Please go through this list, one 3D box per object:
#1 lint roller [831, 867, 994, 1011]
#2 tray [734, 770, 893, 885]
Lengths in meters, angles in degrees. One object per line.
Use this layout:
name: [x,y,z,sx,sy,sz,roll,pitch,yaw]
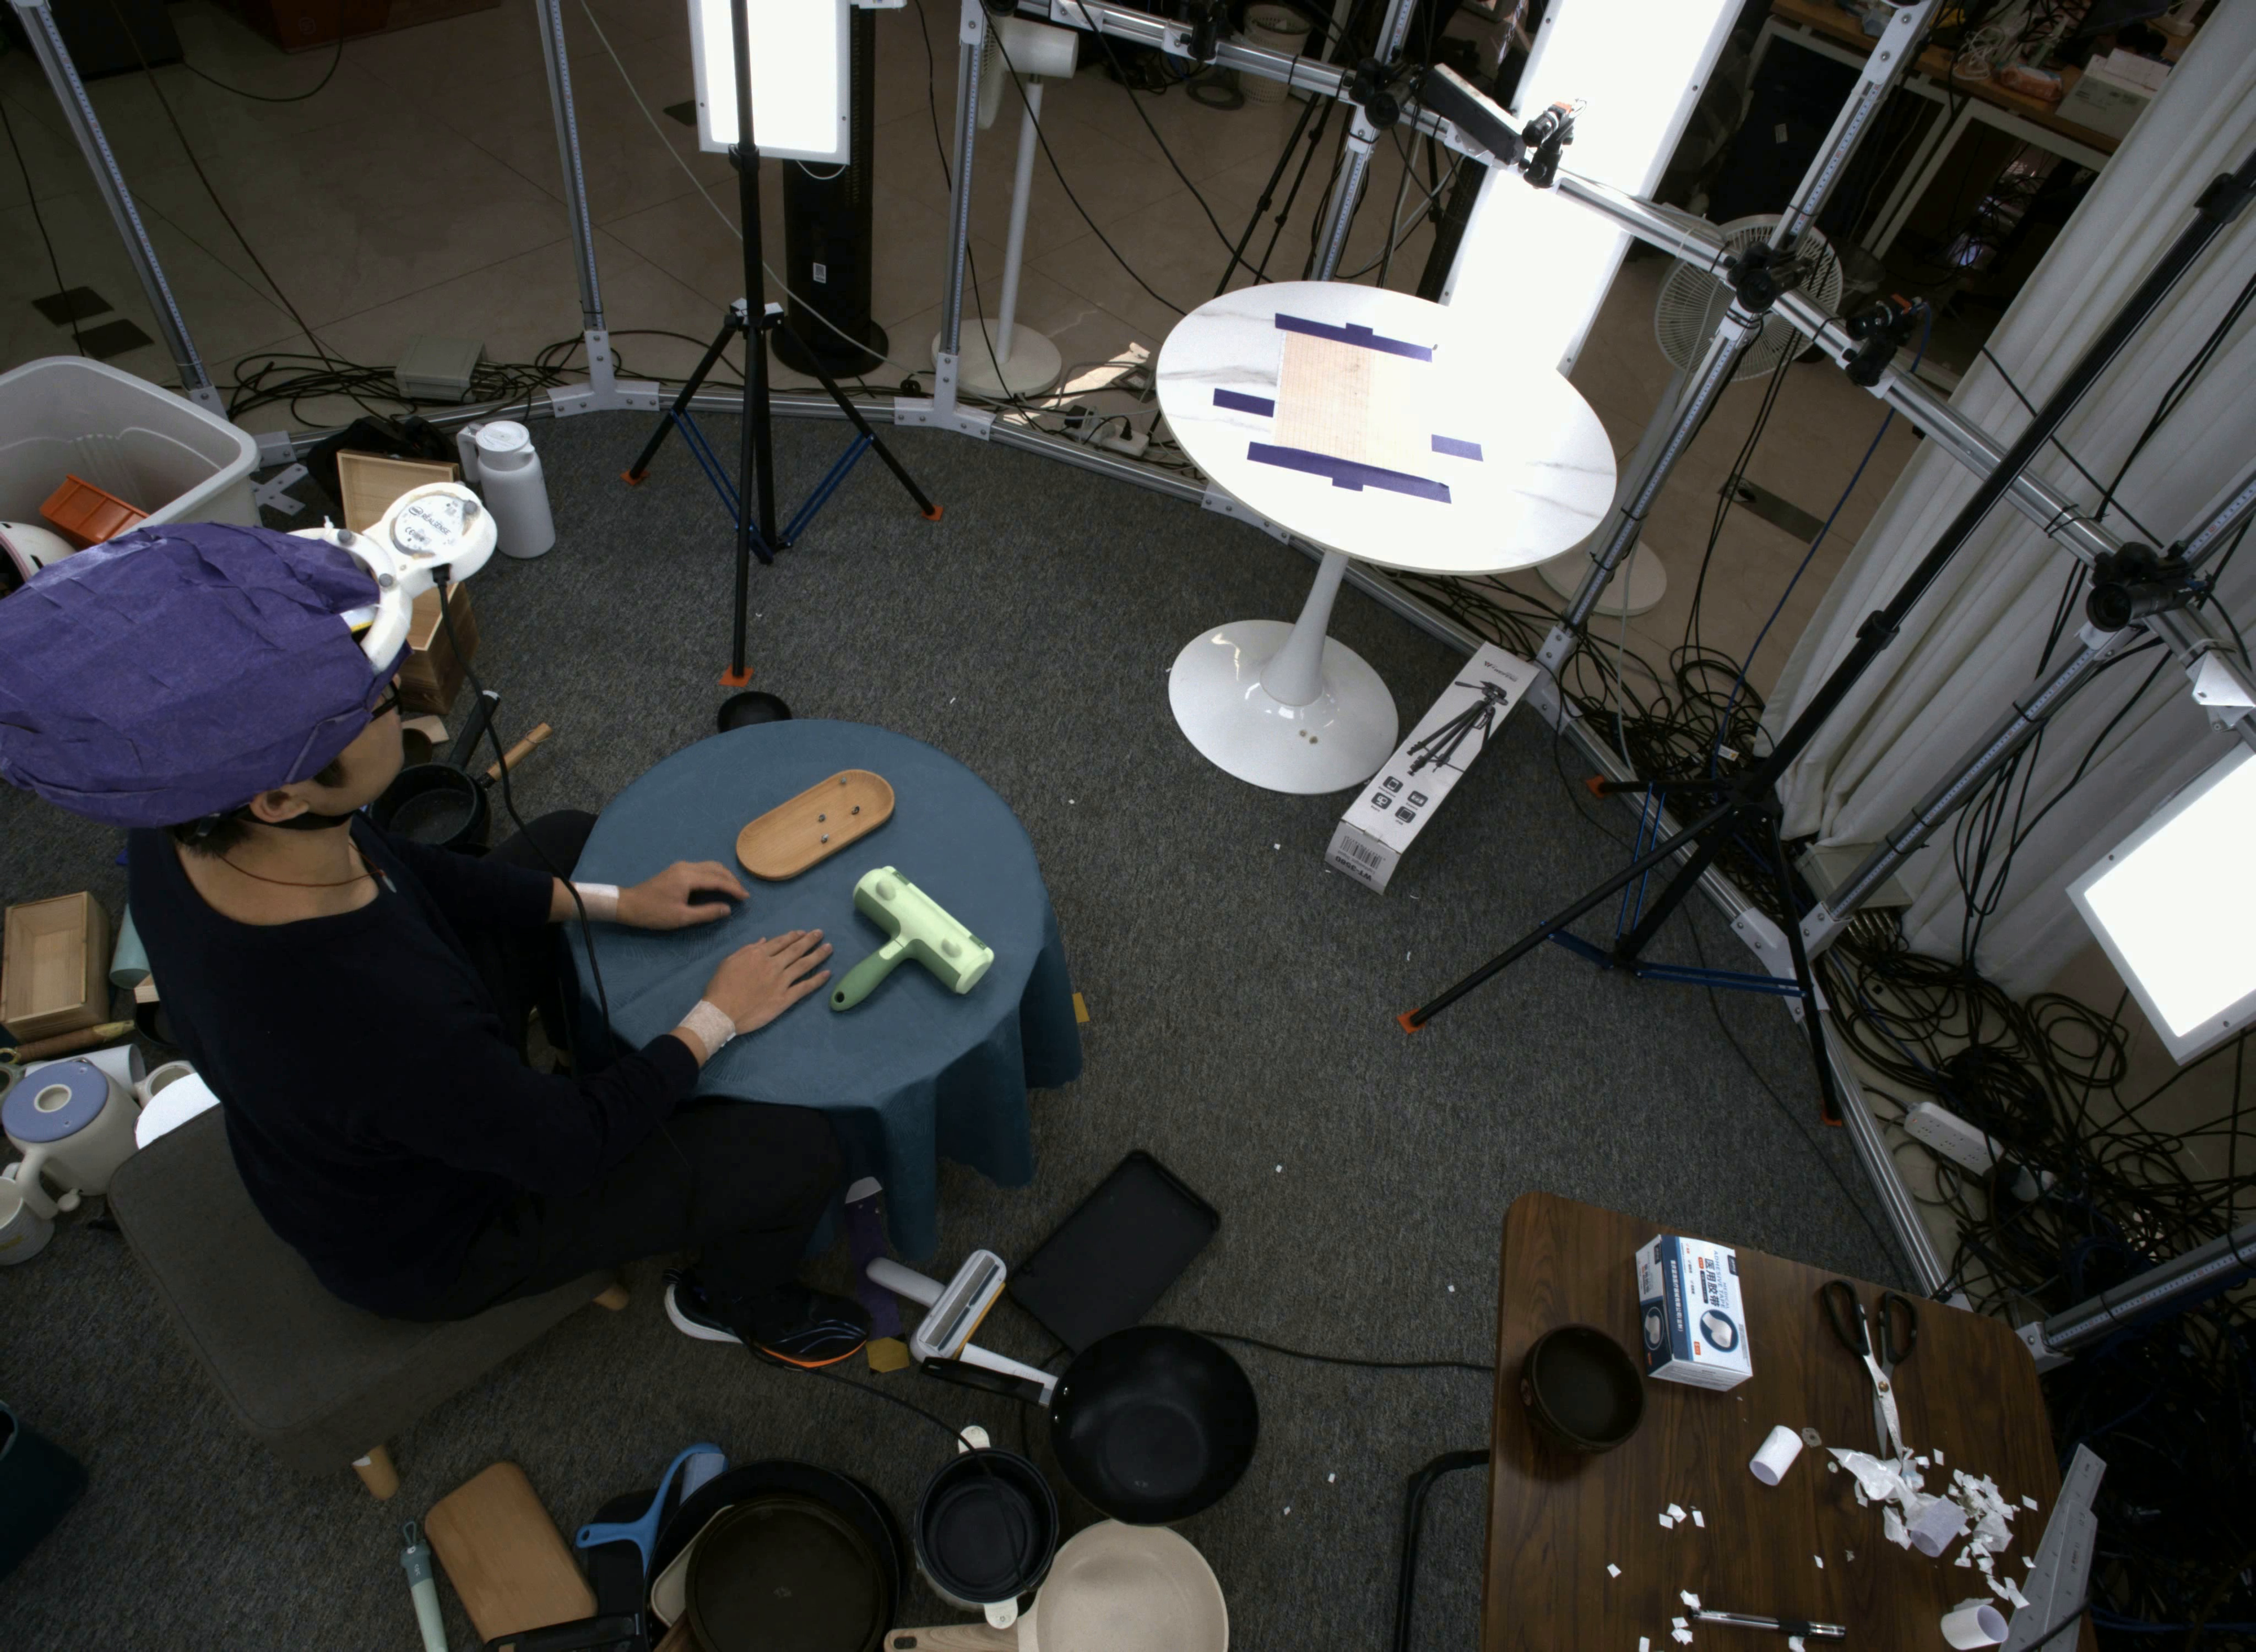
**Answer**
lint roller: [-0.291,0.149,1.582,0.194,0.084,0.183,37,48,15]
tray: [-0.412,0.000,1.707,0.099,0.021,0.231,42,56,18]
